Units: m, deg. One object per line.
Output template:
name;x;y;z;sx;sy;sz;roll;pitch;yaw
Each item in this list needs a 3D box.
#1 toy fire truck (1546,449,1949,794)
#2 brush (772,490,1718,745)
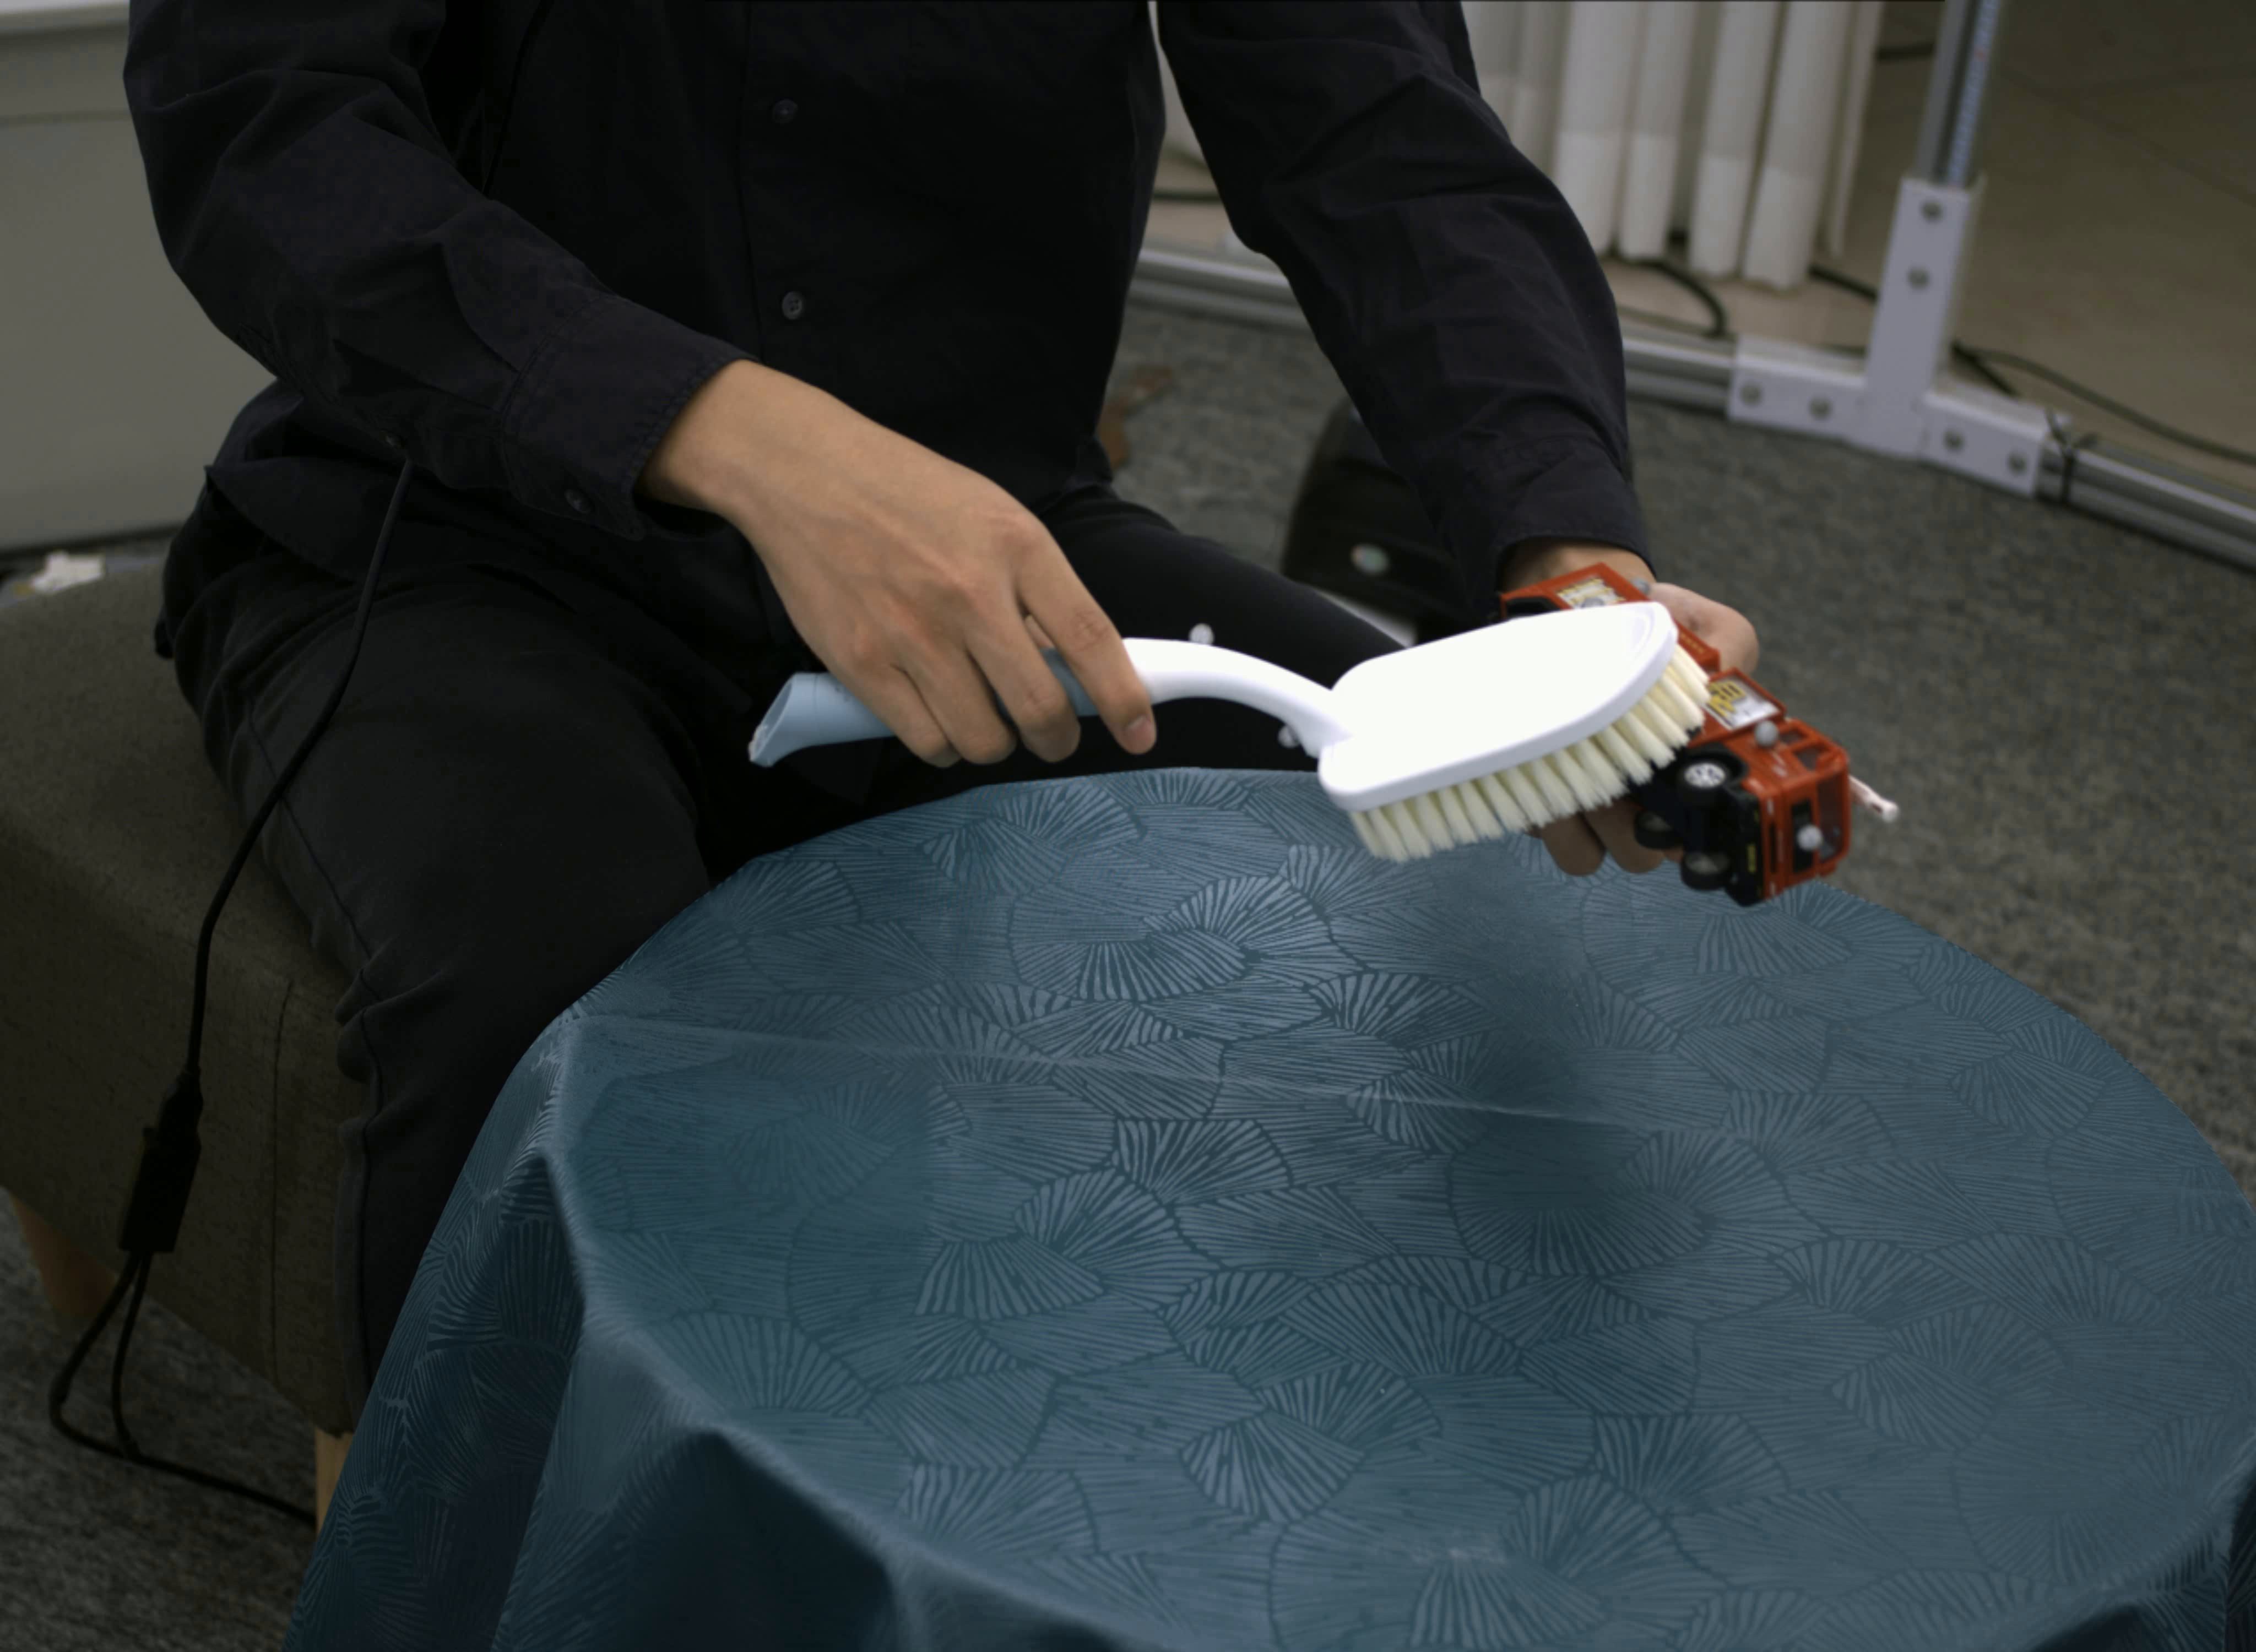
toy fire truck;0.203;-0.070;1.811;0.070;0.053;0.169;-21;36;-20
brush;0.041;-0.065;1.818;0.325;0.084;0.083;-6;4;14
